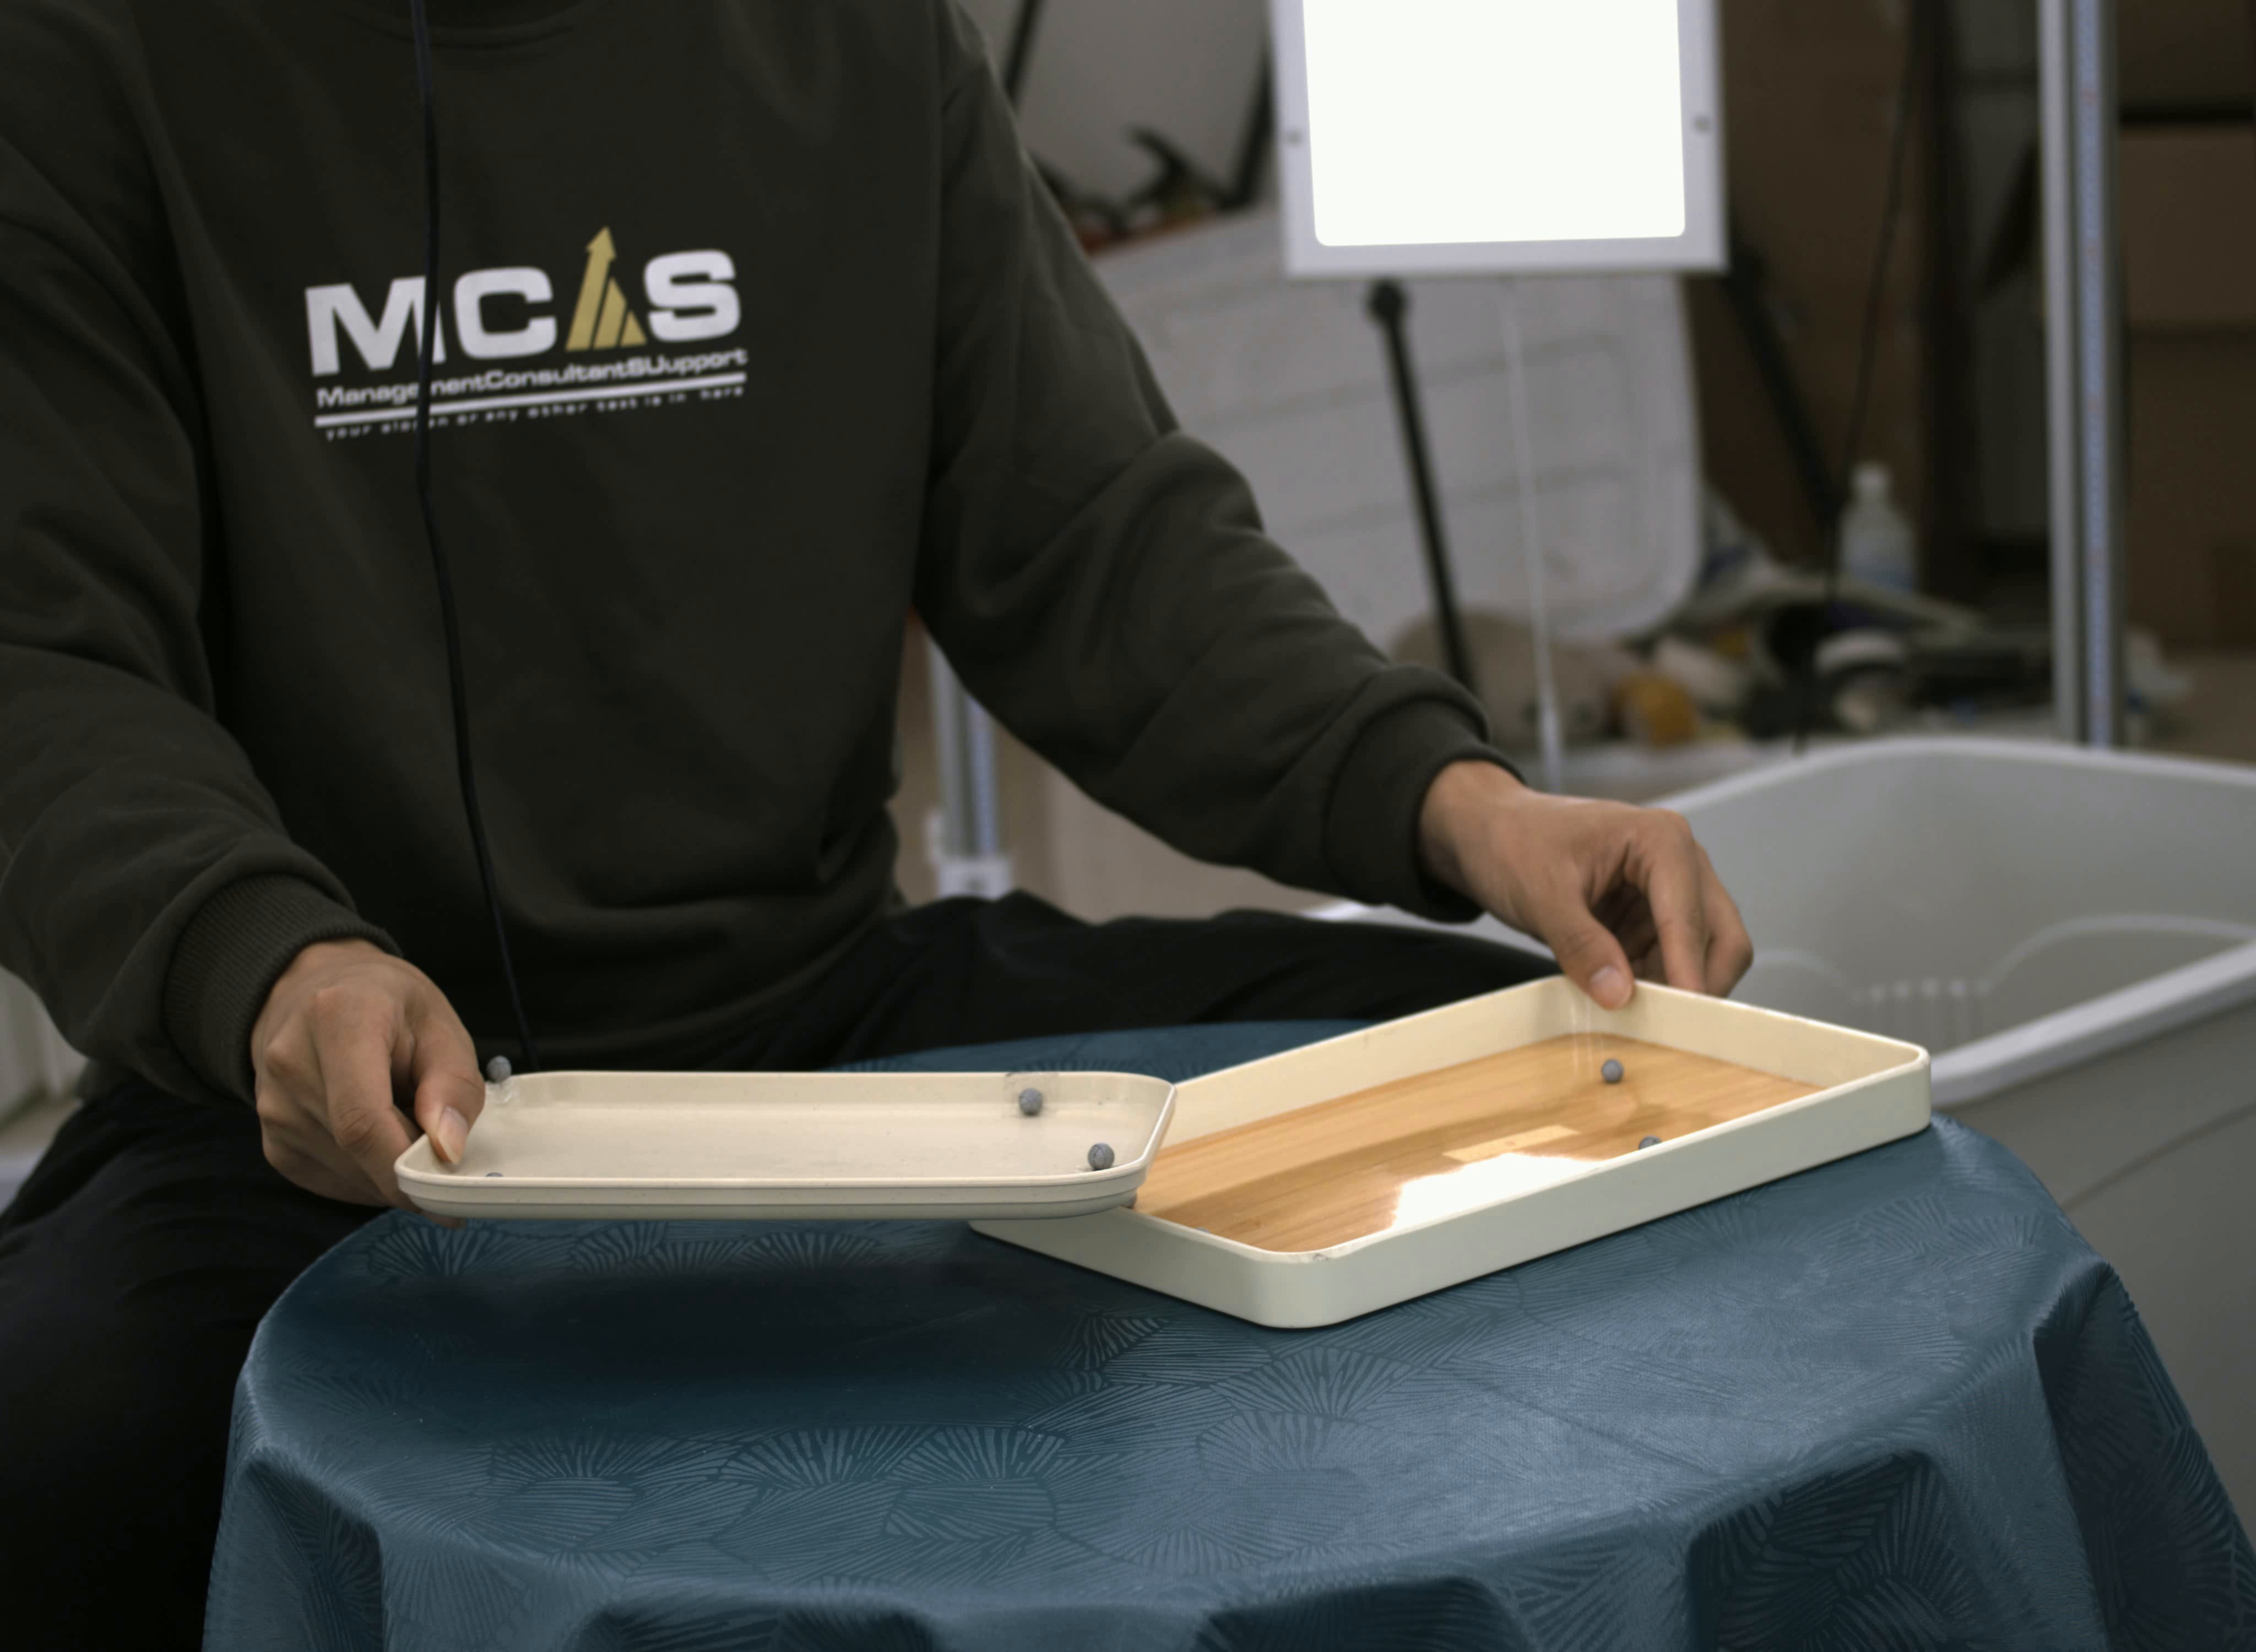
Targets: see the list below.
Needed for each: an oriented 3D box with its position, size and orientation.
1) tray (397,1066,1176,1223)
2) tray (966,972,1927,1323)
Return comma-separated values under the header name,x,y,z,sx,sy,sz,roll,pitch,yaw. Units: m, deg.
name,x,y,z,sx,sy,sz,roll,pitch,yaw
tray,-0.107,0.103,1.780,0.240,0.017,0.170,-1,9,7
tray,0.111,0.106,1.887,0.293,0.027,0.195,-14,16,-34
